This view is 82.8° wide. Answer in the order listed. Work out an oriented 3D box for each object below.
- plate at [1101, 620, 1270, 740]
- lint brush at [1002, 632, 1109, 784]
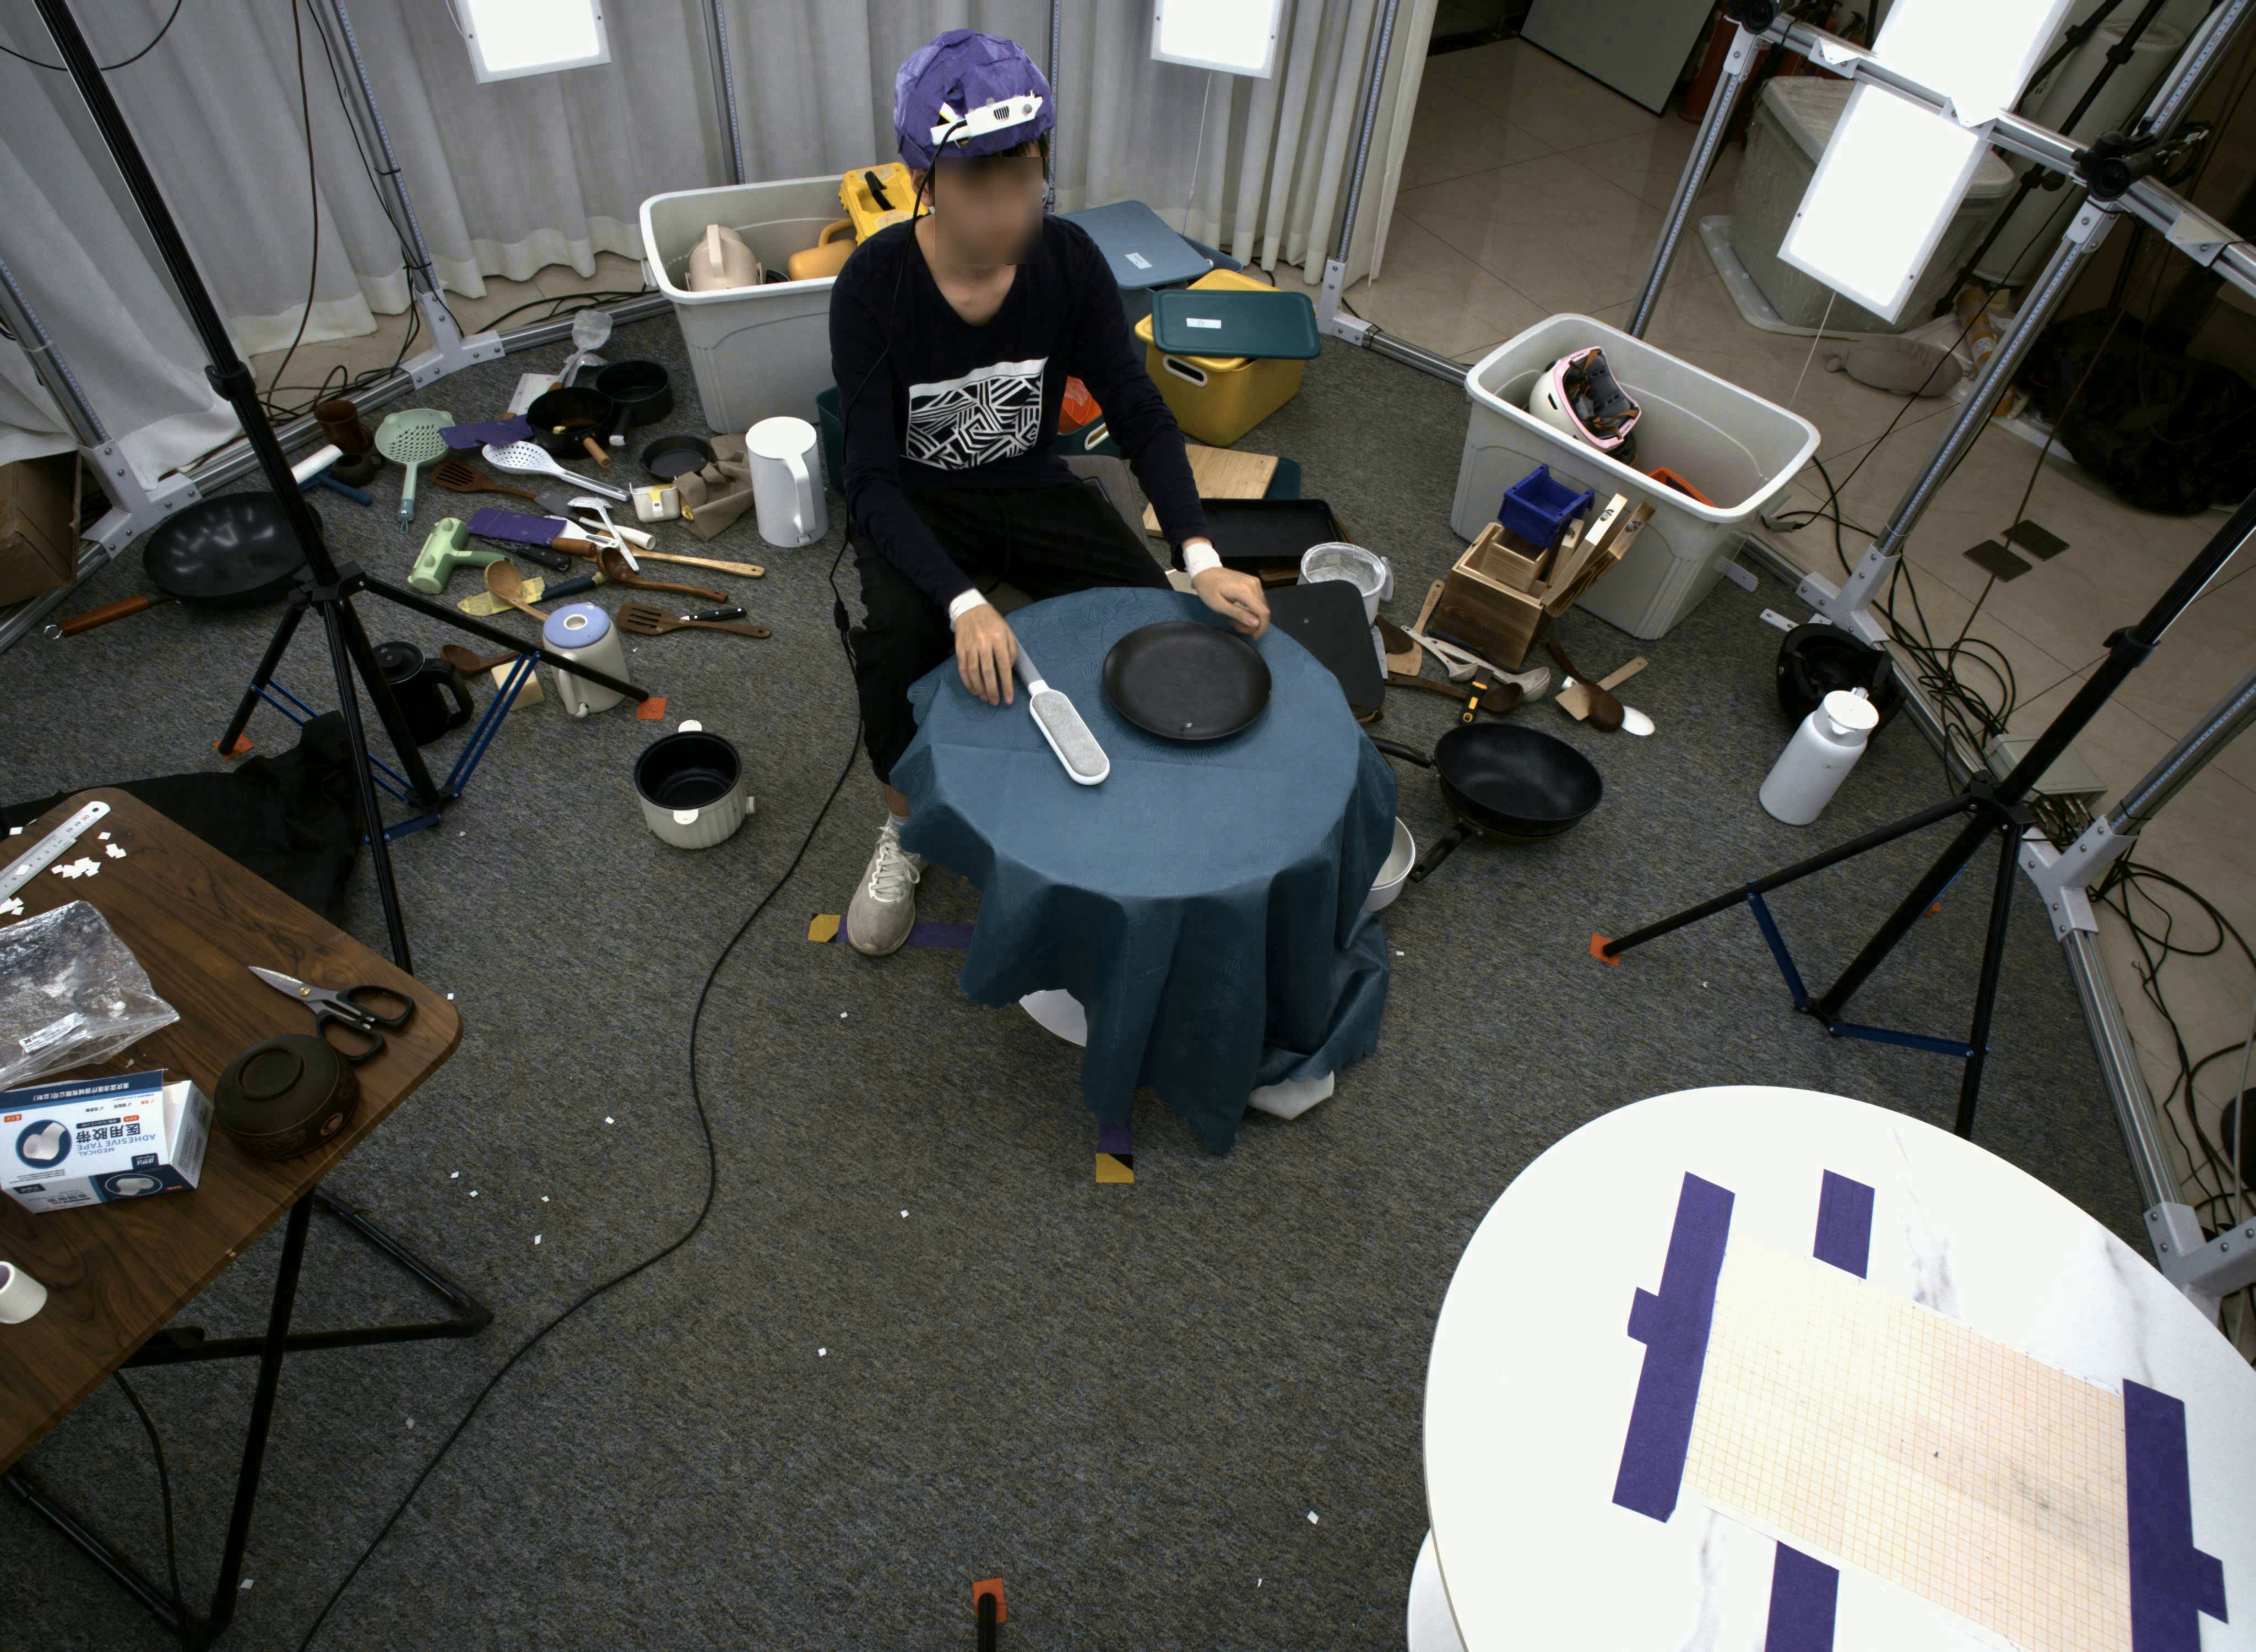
[{"bbox_3d":[0.082,-0.206,1.837,0.244,0.023,0.250,2,49,-3],"label":"plate"},{"bbox_3d":[-0.107,-0.170,1.790,0.060,0.020,0.316,-21,54,-14],"label":"lint brush"}]
